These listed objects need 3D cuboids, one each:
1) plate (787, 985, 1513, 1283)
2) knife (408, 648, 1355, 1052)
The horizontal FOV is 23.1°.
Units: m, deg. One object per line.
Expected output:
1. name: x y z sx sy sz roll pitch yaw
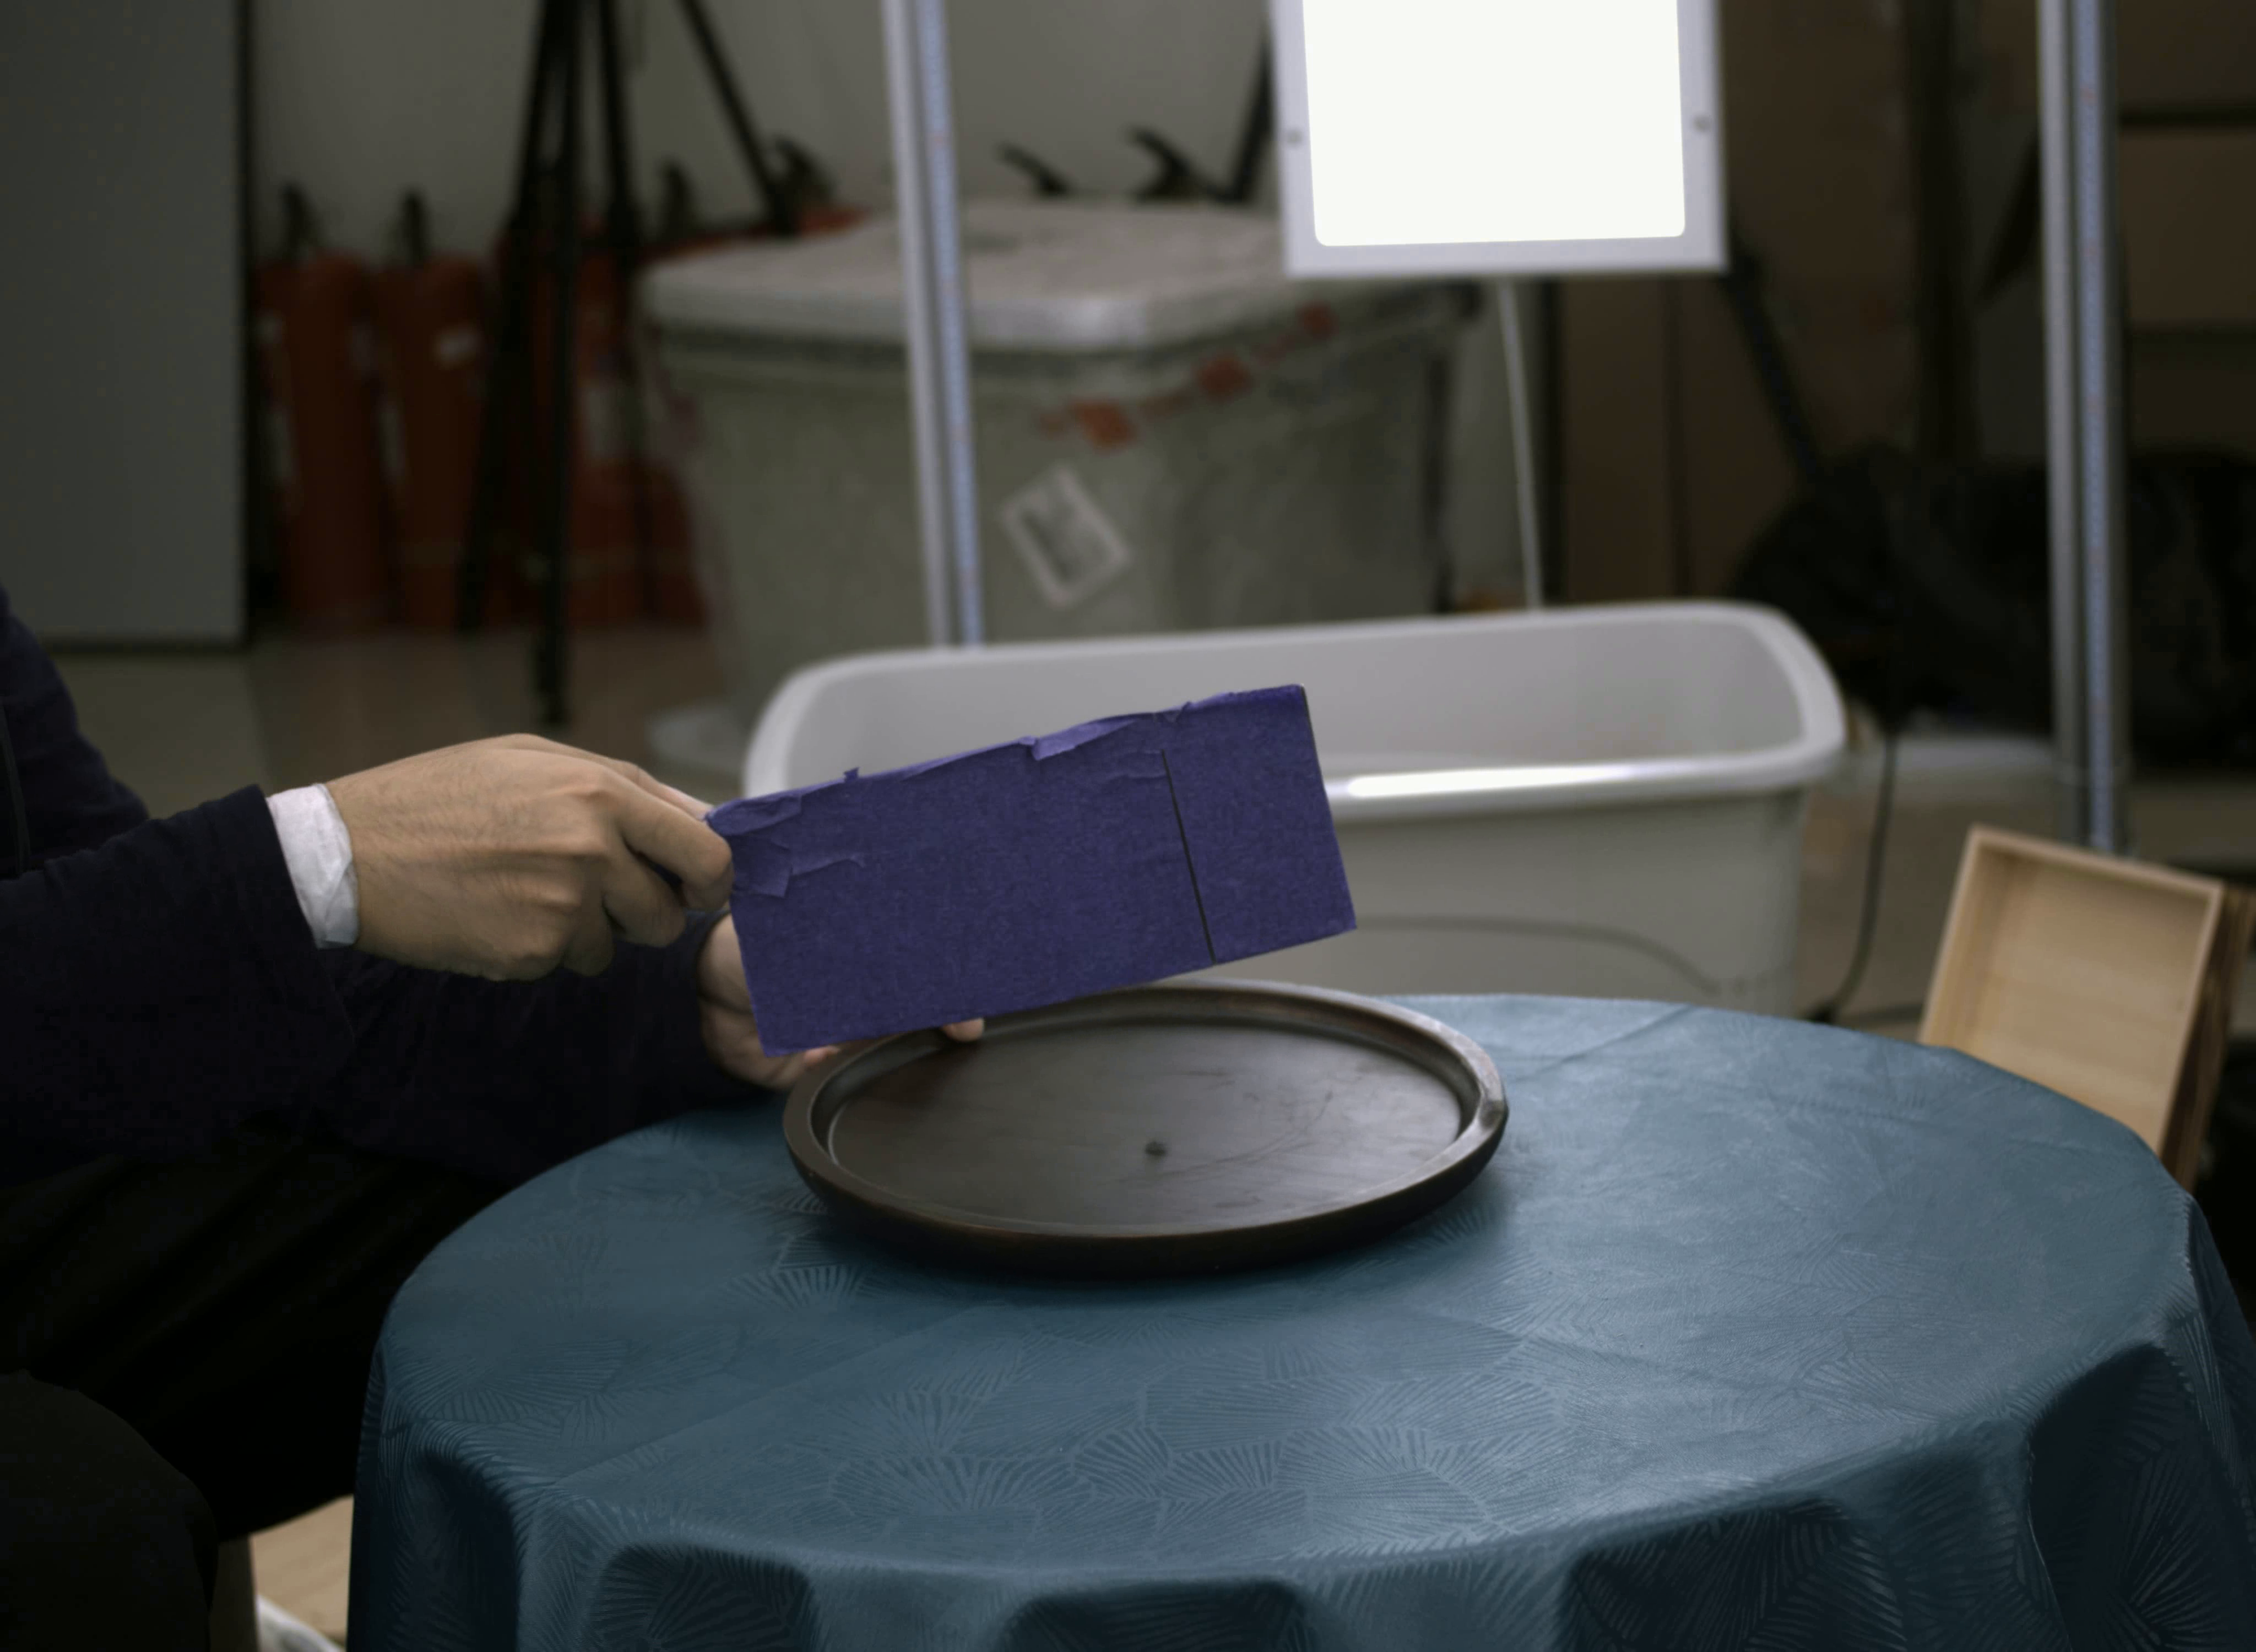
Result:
1. plate: 0.008 0.104 1.907 0.254 0.029 0.254 -2 18 -1
2. knife: -0.081 0.024 1.859 0.315 0.104 0.032 -13 9 1
